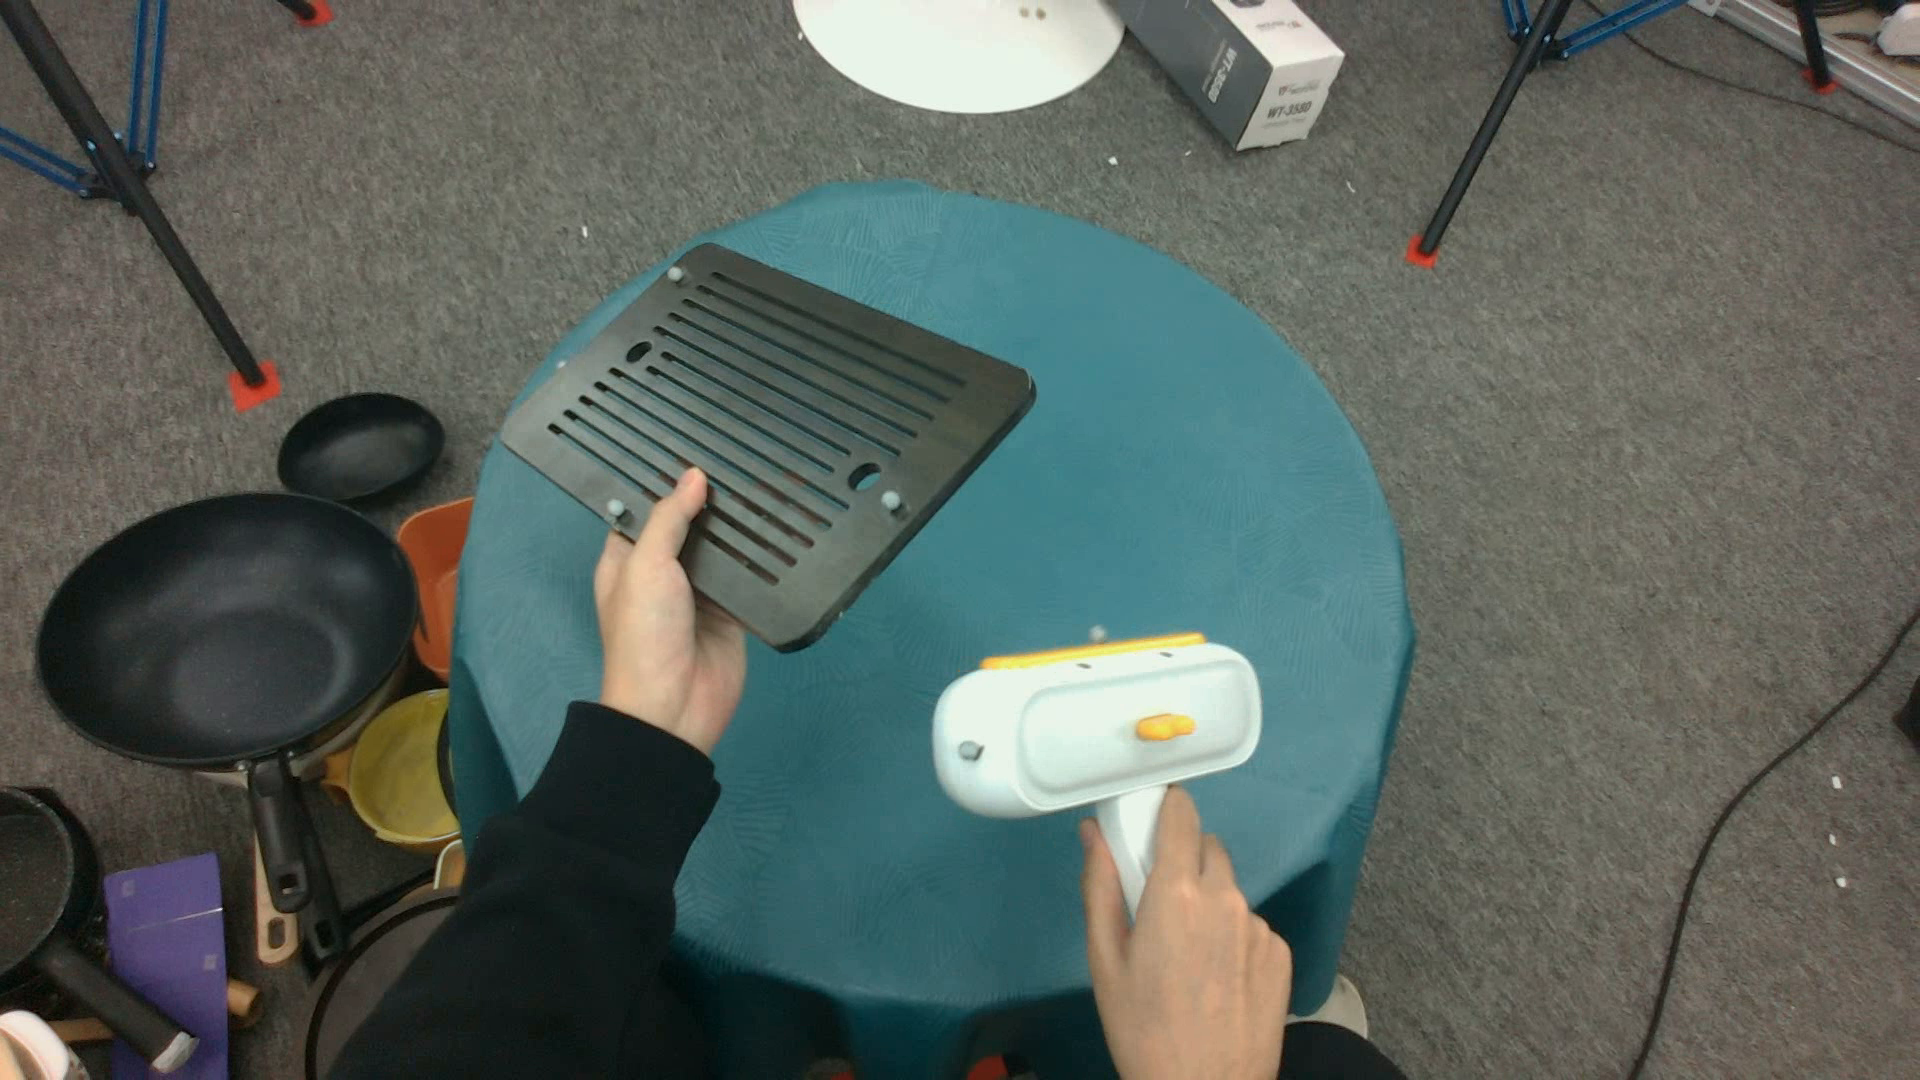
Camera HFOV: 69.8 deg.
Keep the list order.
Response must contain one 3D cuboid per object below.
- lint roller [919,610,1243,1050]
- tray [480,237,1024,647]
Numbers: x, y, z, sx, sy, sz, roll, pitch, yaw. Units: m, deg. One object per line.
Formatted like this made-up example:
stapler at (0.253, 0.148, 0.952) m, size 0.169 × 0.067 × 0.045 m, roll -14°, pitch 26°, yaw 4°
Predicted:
lint roller at (0.078, 0.134, 0.628) m, size 0.193 × 0.074 × 0.192 m, roll -7°, pitch 85°, yaw -48°
tray at (-0.118, -0.064, 0.702) m, size 0.170 × 0.018 × 0.306 m, roll -47°, pitch 46°, yaw -15°
